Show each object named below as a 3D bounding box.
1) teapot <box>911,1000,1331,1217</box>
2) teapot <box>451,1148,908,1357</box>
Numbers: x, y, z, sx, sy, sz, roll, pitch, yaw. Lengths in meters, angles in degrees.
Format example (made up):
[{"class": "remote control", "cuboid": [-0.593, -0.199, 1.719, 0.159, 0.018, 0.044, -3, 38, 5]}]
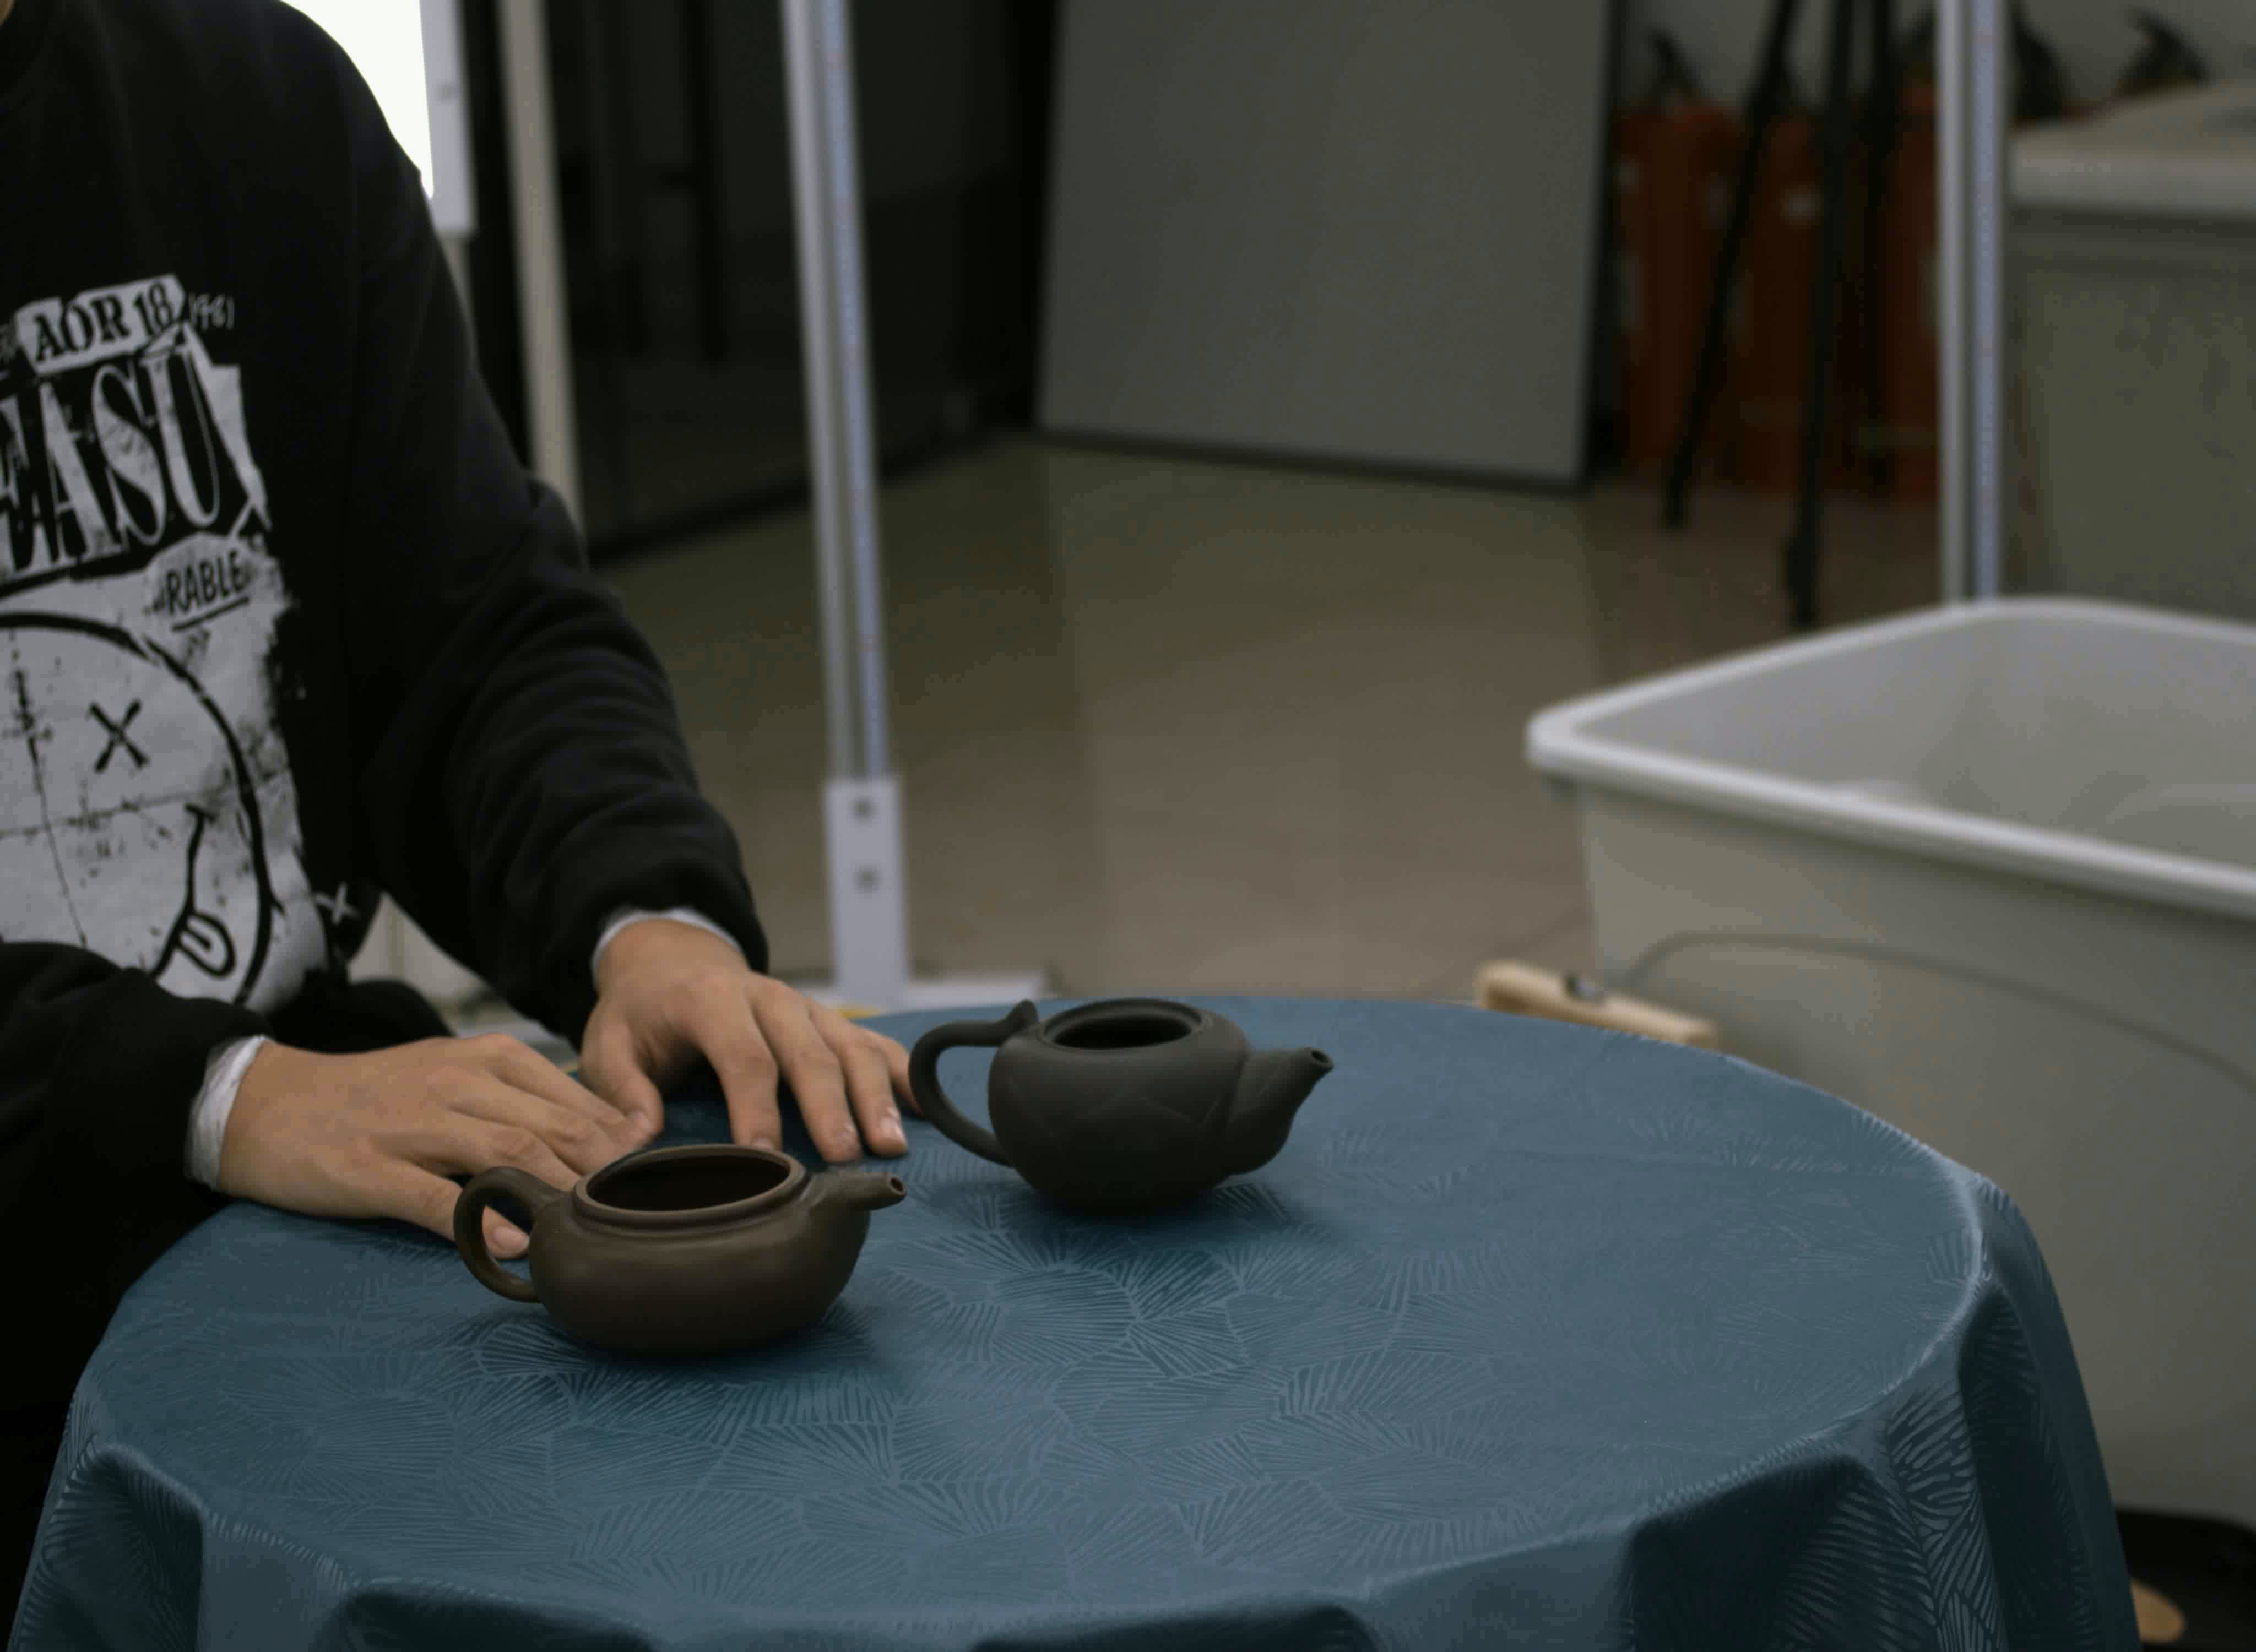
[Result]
[{"class": "teapot", "cuboid": [-0.003, 0.090, 1.767, 0.154, 0.065, 0.091, 3, 14, 27]}, {"class": "teapot", "cuboid": [-0.138, 0.130, 1.669, 0.153, 0.054, 0.102, 0, 12, 16]}]
